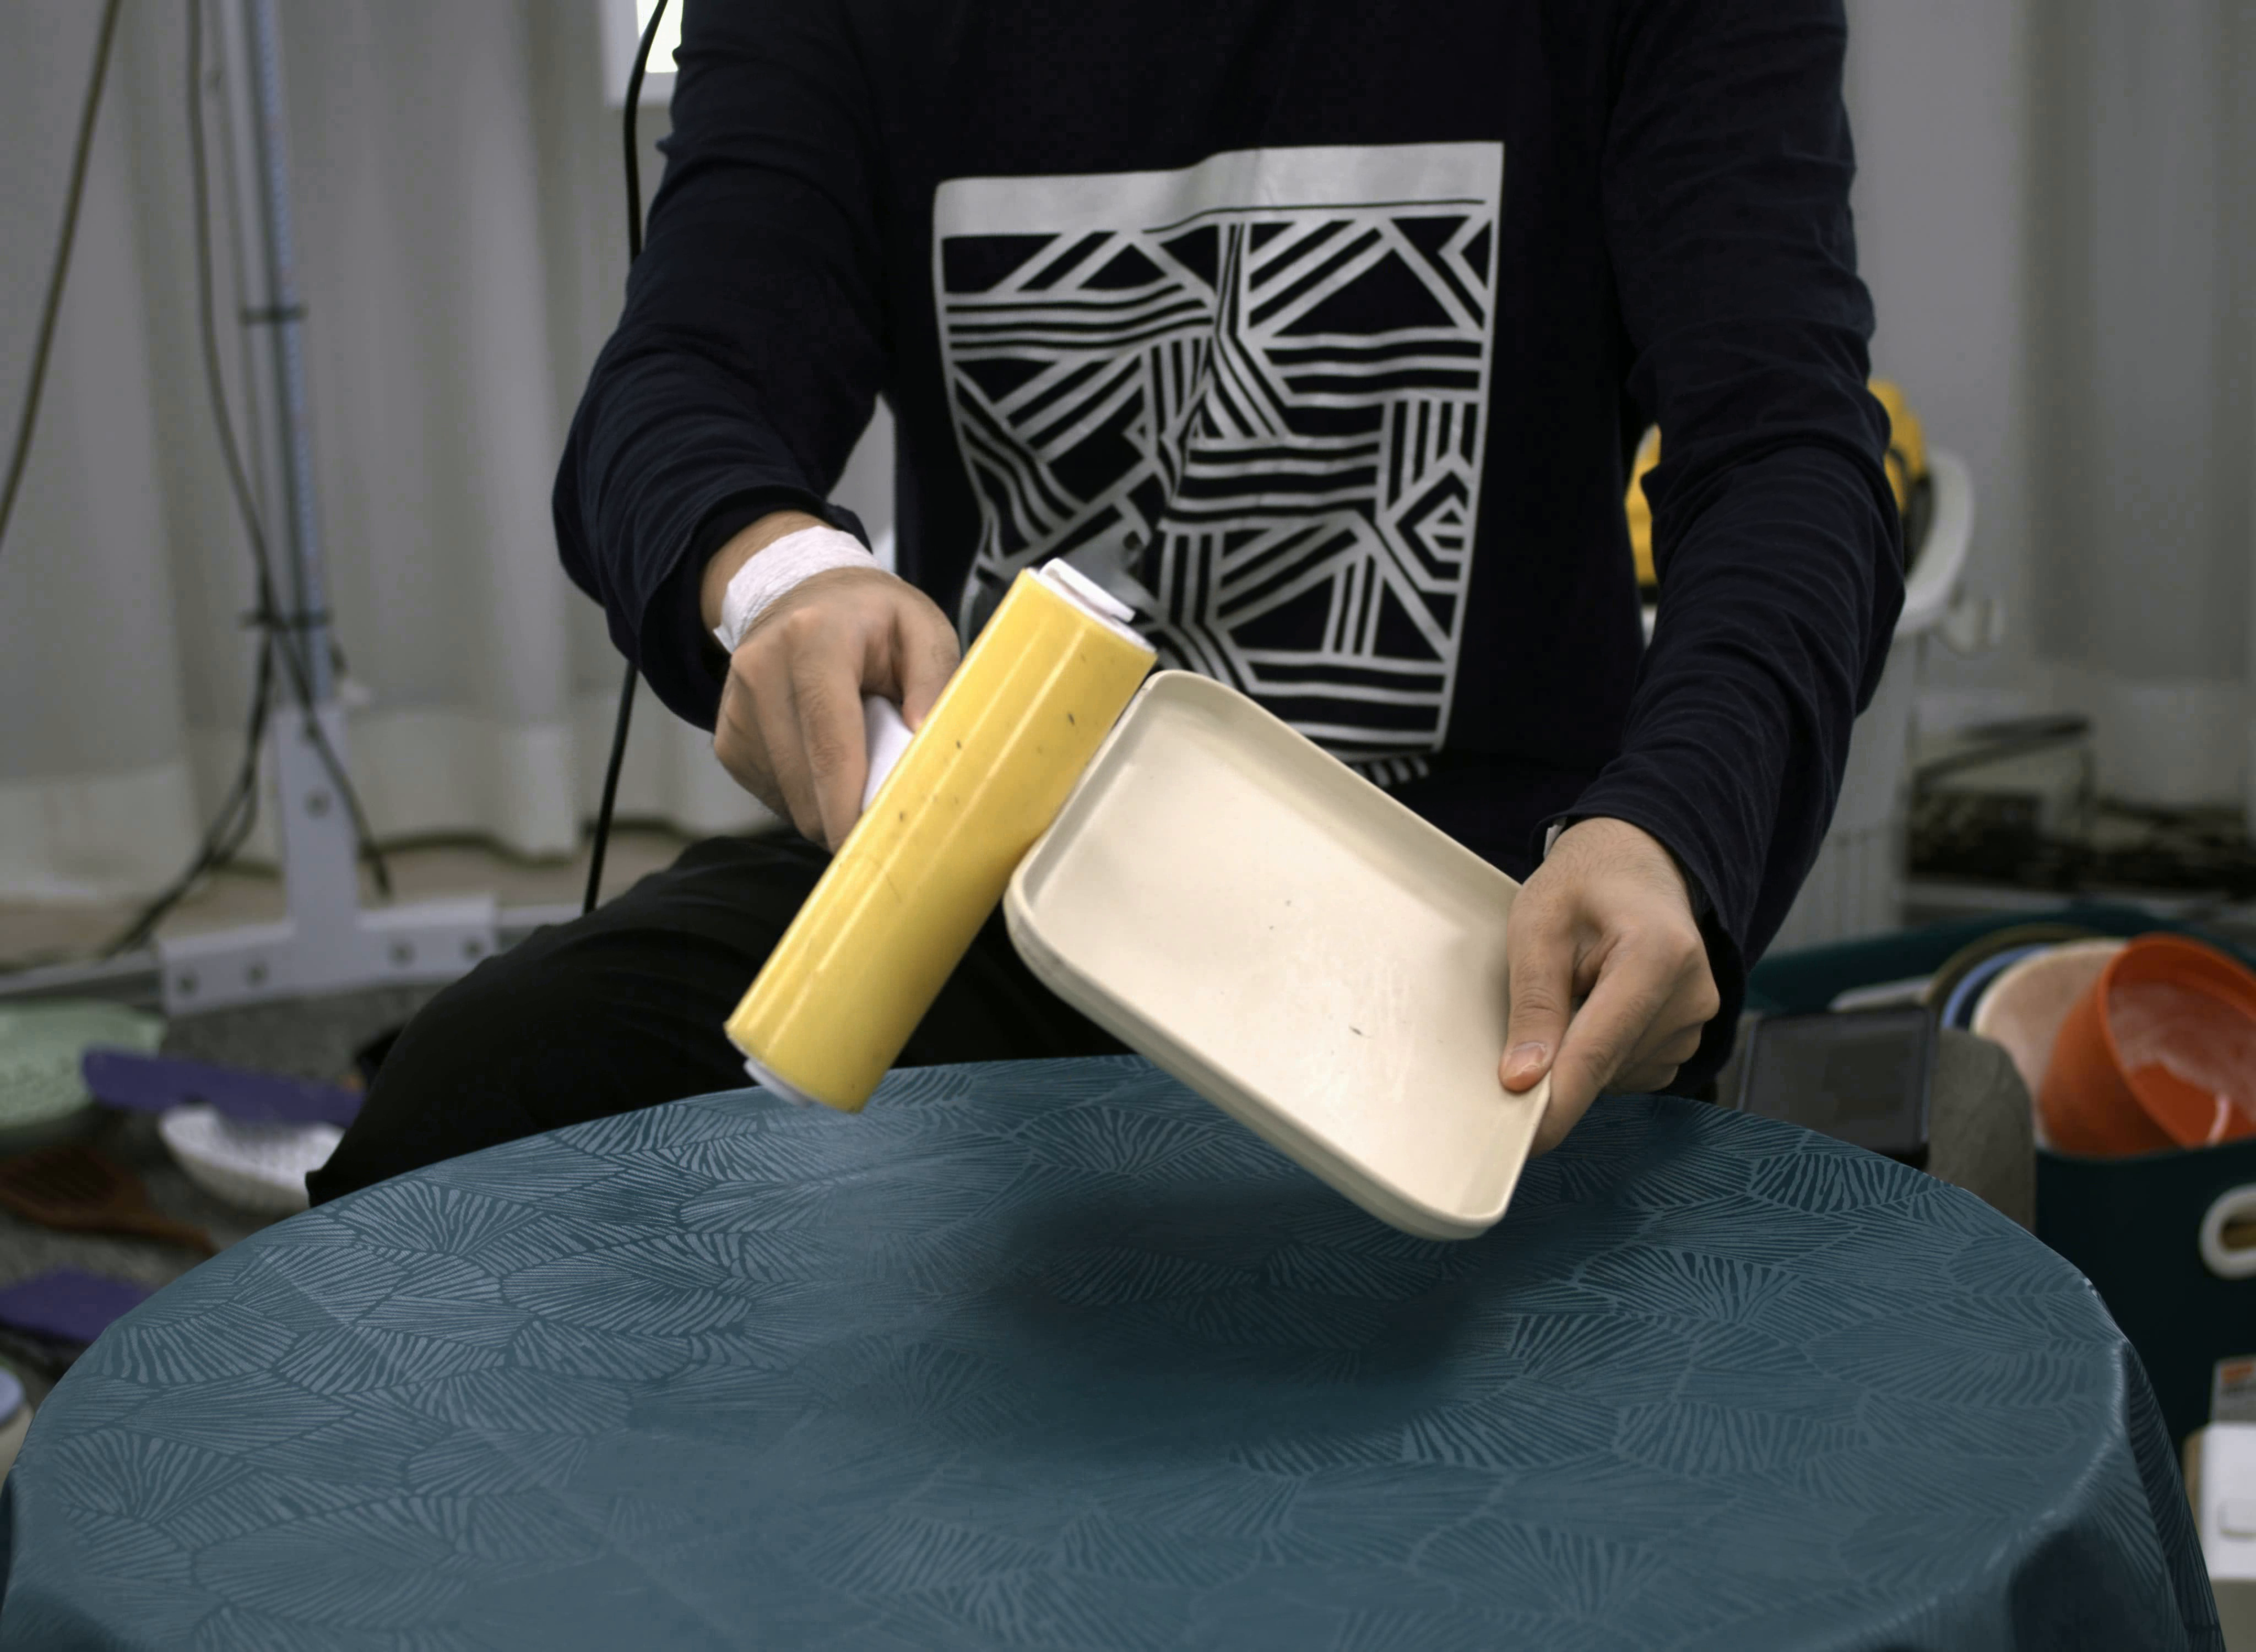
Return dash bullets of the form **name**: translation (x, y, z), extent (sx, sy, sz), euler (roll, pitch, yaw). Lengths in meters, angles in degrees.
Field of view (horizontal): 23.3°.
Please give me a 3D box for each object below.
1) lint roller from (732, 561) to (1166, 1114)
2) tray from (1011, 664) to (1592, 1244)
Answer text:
- **lint roller**: translation (-0.078, -0.016, 1.647), extent (0.051, 0.174, 0.194), euler (32, 3, -28)
- **tray**: translation (0.054, 0.036, 1.628), extent (0.171, 0.017, 0.241), euler (36, 23, -1)
